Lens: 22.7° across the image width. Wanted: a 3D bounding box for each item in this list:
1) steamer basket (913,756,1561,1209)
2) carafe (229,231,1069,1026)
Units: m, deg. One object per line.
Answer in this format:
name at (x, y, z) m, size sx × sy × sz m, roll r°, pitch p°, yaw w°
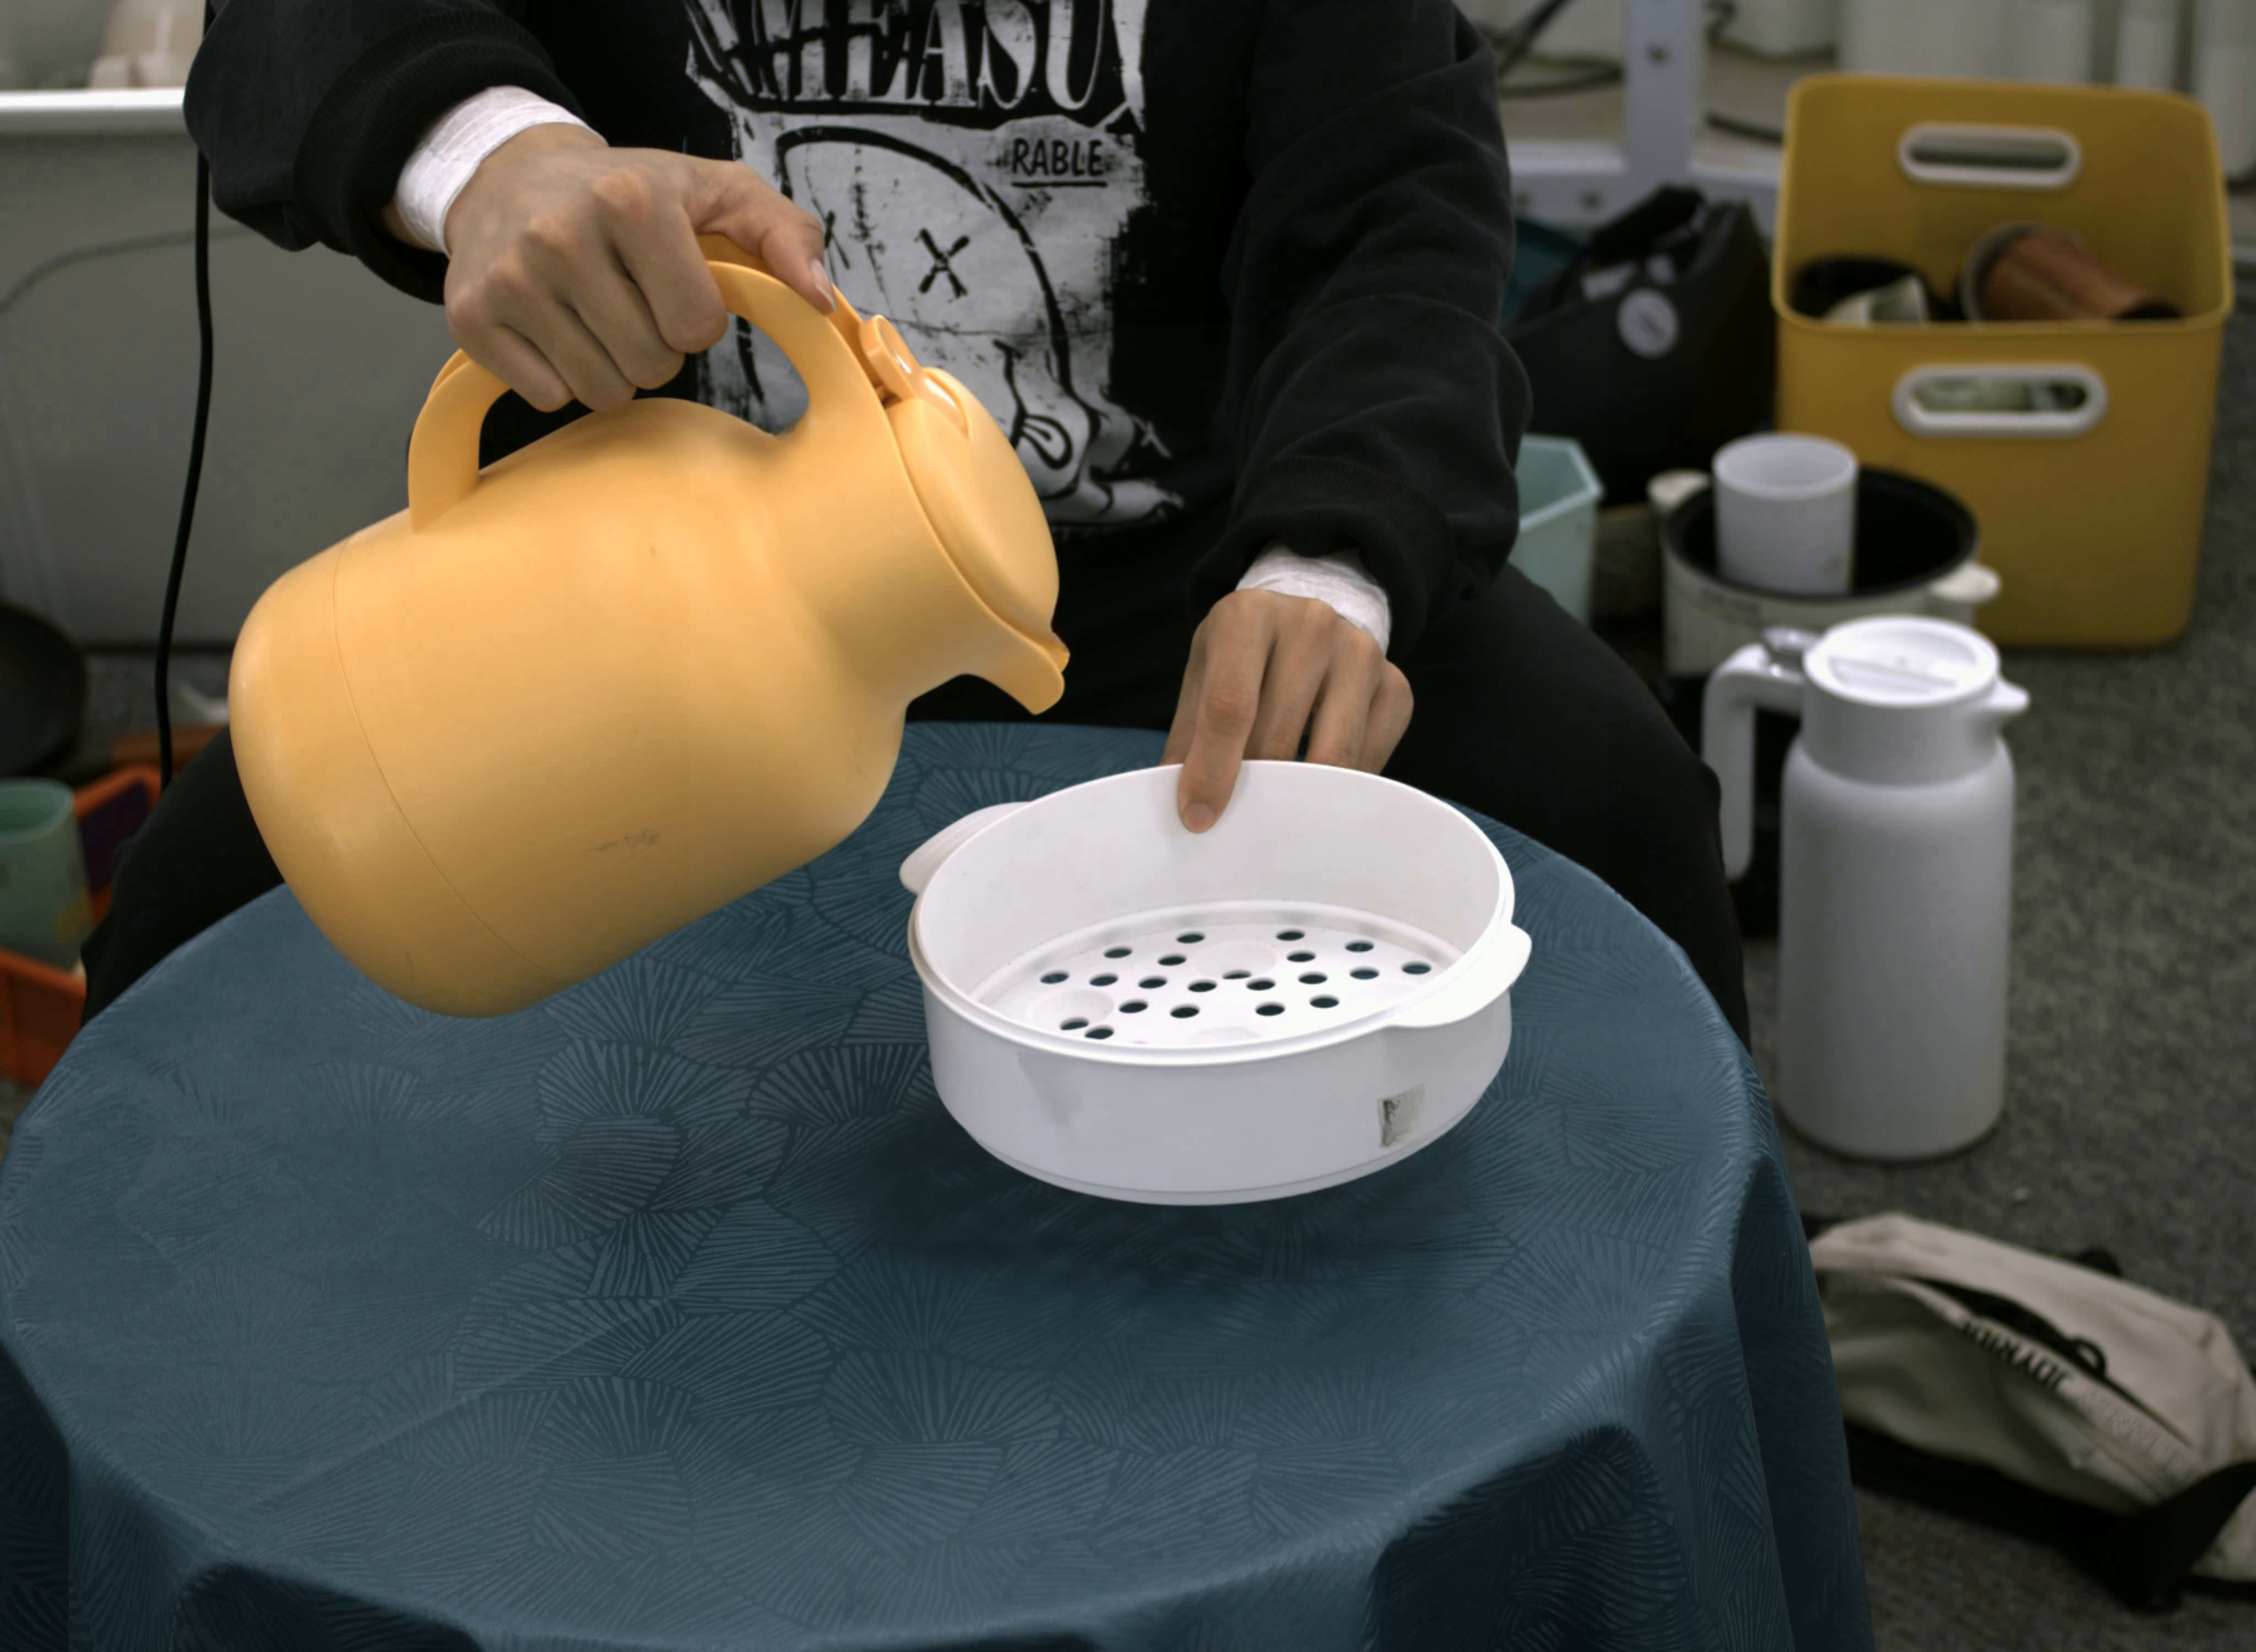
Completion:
steamer basket at (0.034, 0.051, 1.849) m, size 0.229 × 0.068 × 0.205 m, roll 17°, pitch 33°, yaw 31°
carafe at (-0.159, -0.069, 1.802) m, size 0.258 × 0.201 × 0.165 m, roll -28°, pitch 18°, yaw 13°
